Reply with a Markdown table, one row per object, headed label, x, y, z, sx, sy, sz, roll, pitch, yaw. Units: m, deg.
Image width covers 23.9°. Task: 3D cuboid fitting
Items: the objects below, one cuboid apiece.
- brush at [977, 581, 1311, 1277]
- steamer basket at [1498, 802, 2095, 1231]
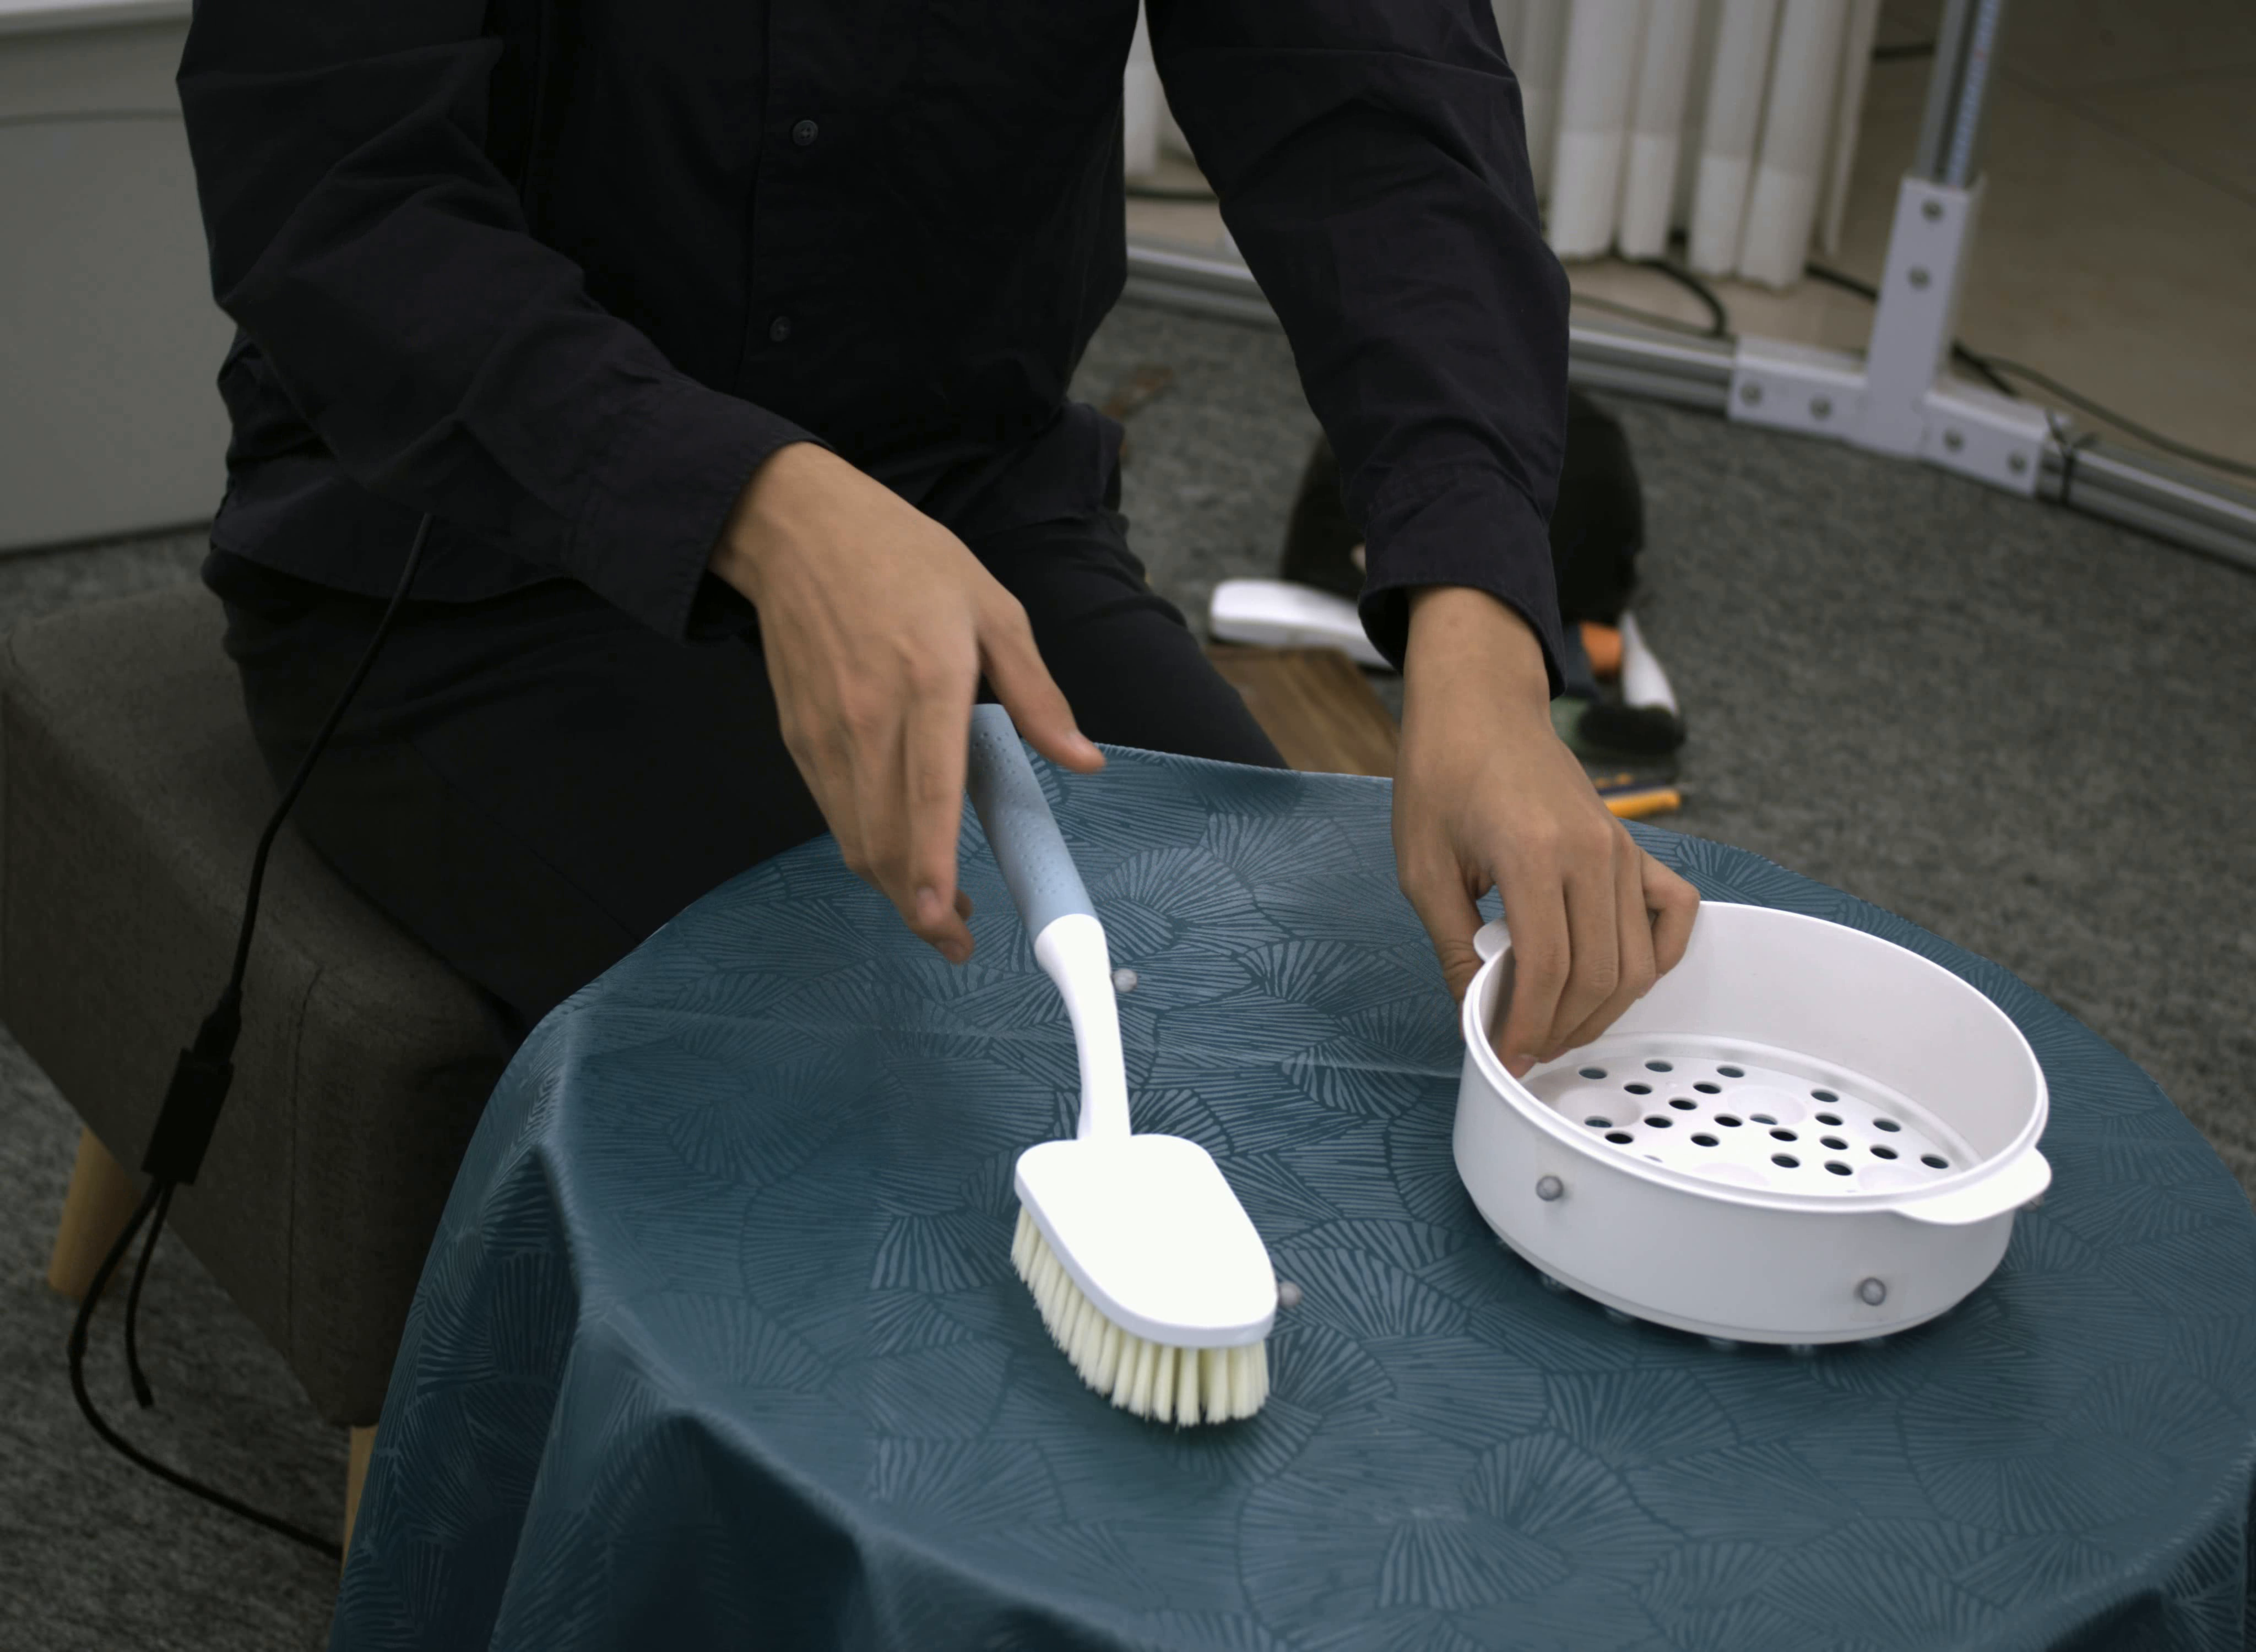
| label | x | y | z | sx | sy | sz | roll | pitch | yaw |
| --- | --- | --- | --- | --- | --- | --- | --- | --- | --- |
| brush | -0.001 | 0.043 | 1.812 | 0.082 | 0.084 | 0.328 | 32 | 23 | -38 |
| steamer basket | 0.226 | 0.066 | 1.836 | 0.201 | 0.069 | 0.232 | -16 | 35 | -39 |
